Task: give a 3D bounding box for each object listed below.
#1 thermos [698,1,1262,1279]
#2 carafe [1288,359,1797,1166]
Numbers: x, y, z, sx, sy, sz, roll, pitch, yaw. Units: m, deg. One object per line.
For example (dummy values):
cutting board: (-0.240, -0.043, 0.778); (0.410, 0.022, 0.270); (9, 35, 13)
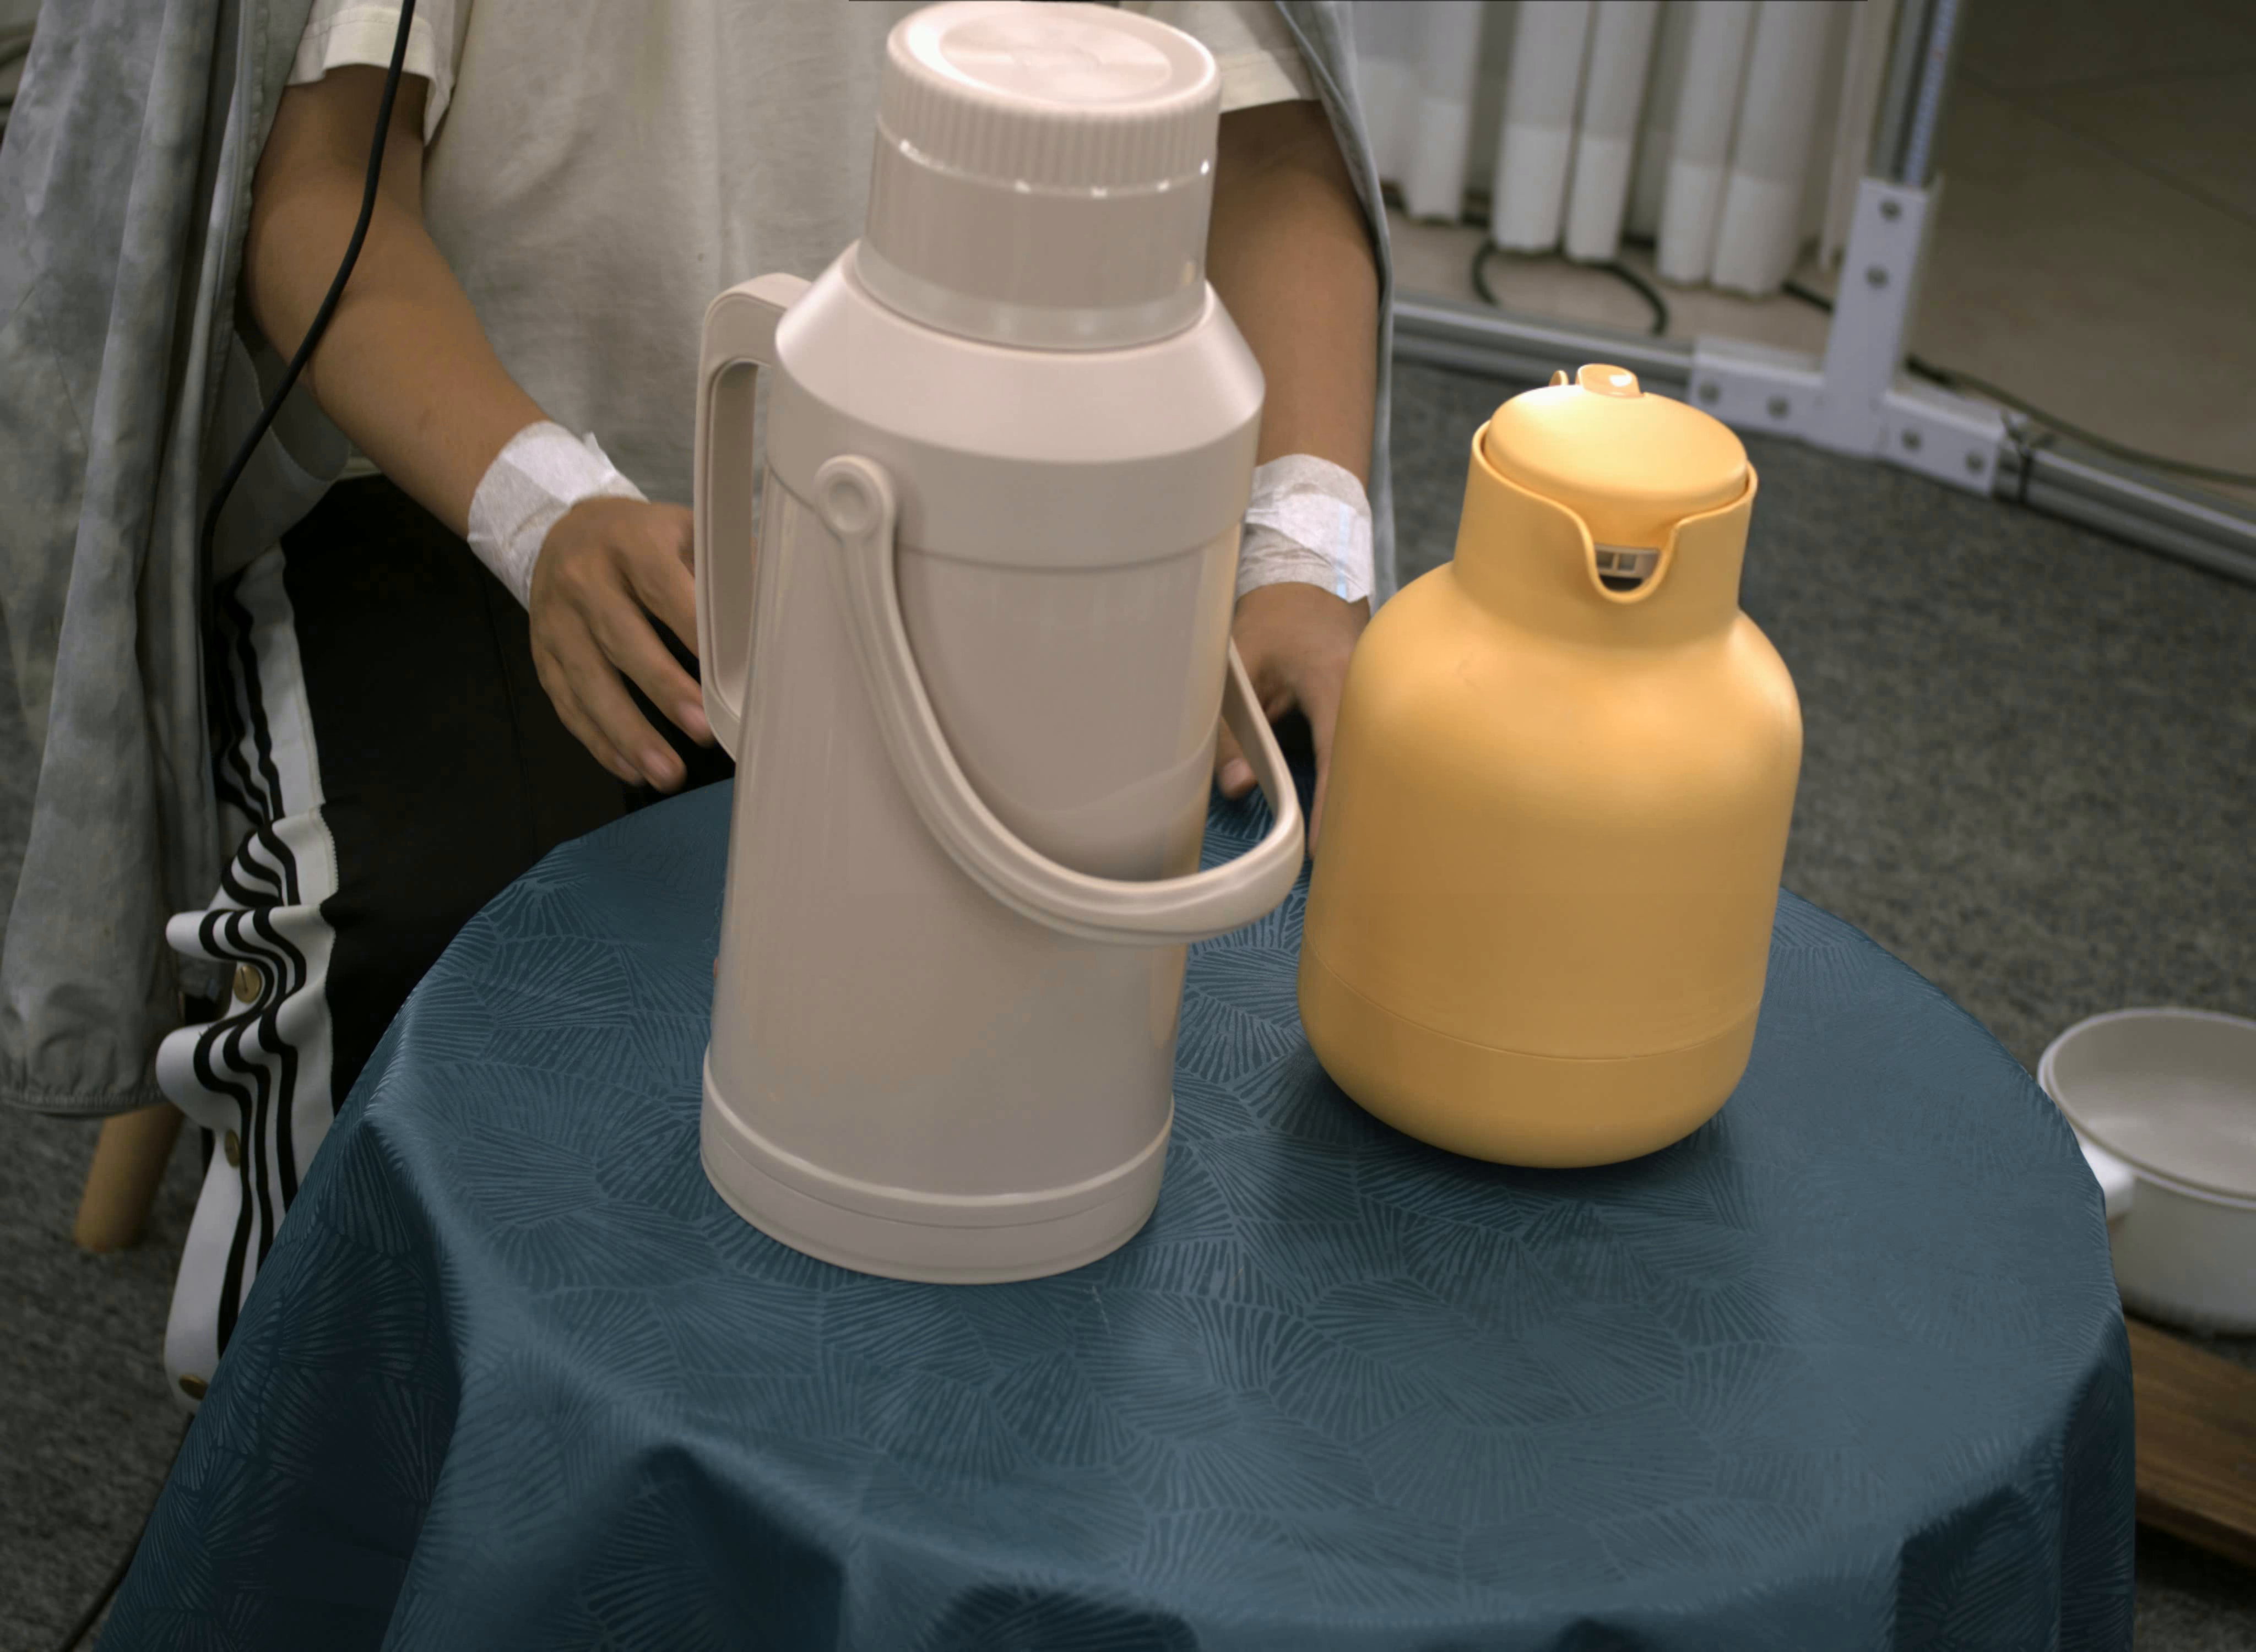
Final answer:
thermos: (-0.057, -0.068, 1.730); (0.208, 0.405, 0.175); (23, 32, 29)
carafe: (0.151, -0.031, 1.856); (0.163, 0.259, 0.203); (9, 28, -1)
